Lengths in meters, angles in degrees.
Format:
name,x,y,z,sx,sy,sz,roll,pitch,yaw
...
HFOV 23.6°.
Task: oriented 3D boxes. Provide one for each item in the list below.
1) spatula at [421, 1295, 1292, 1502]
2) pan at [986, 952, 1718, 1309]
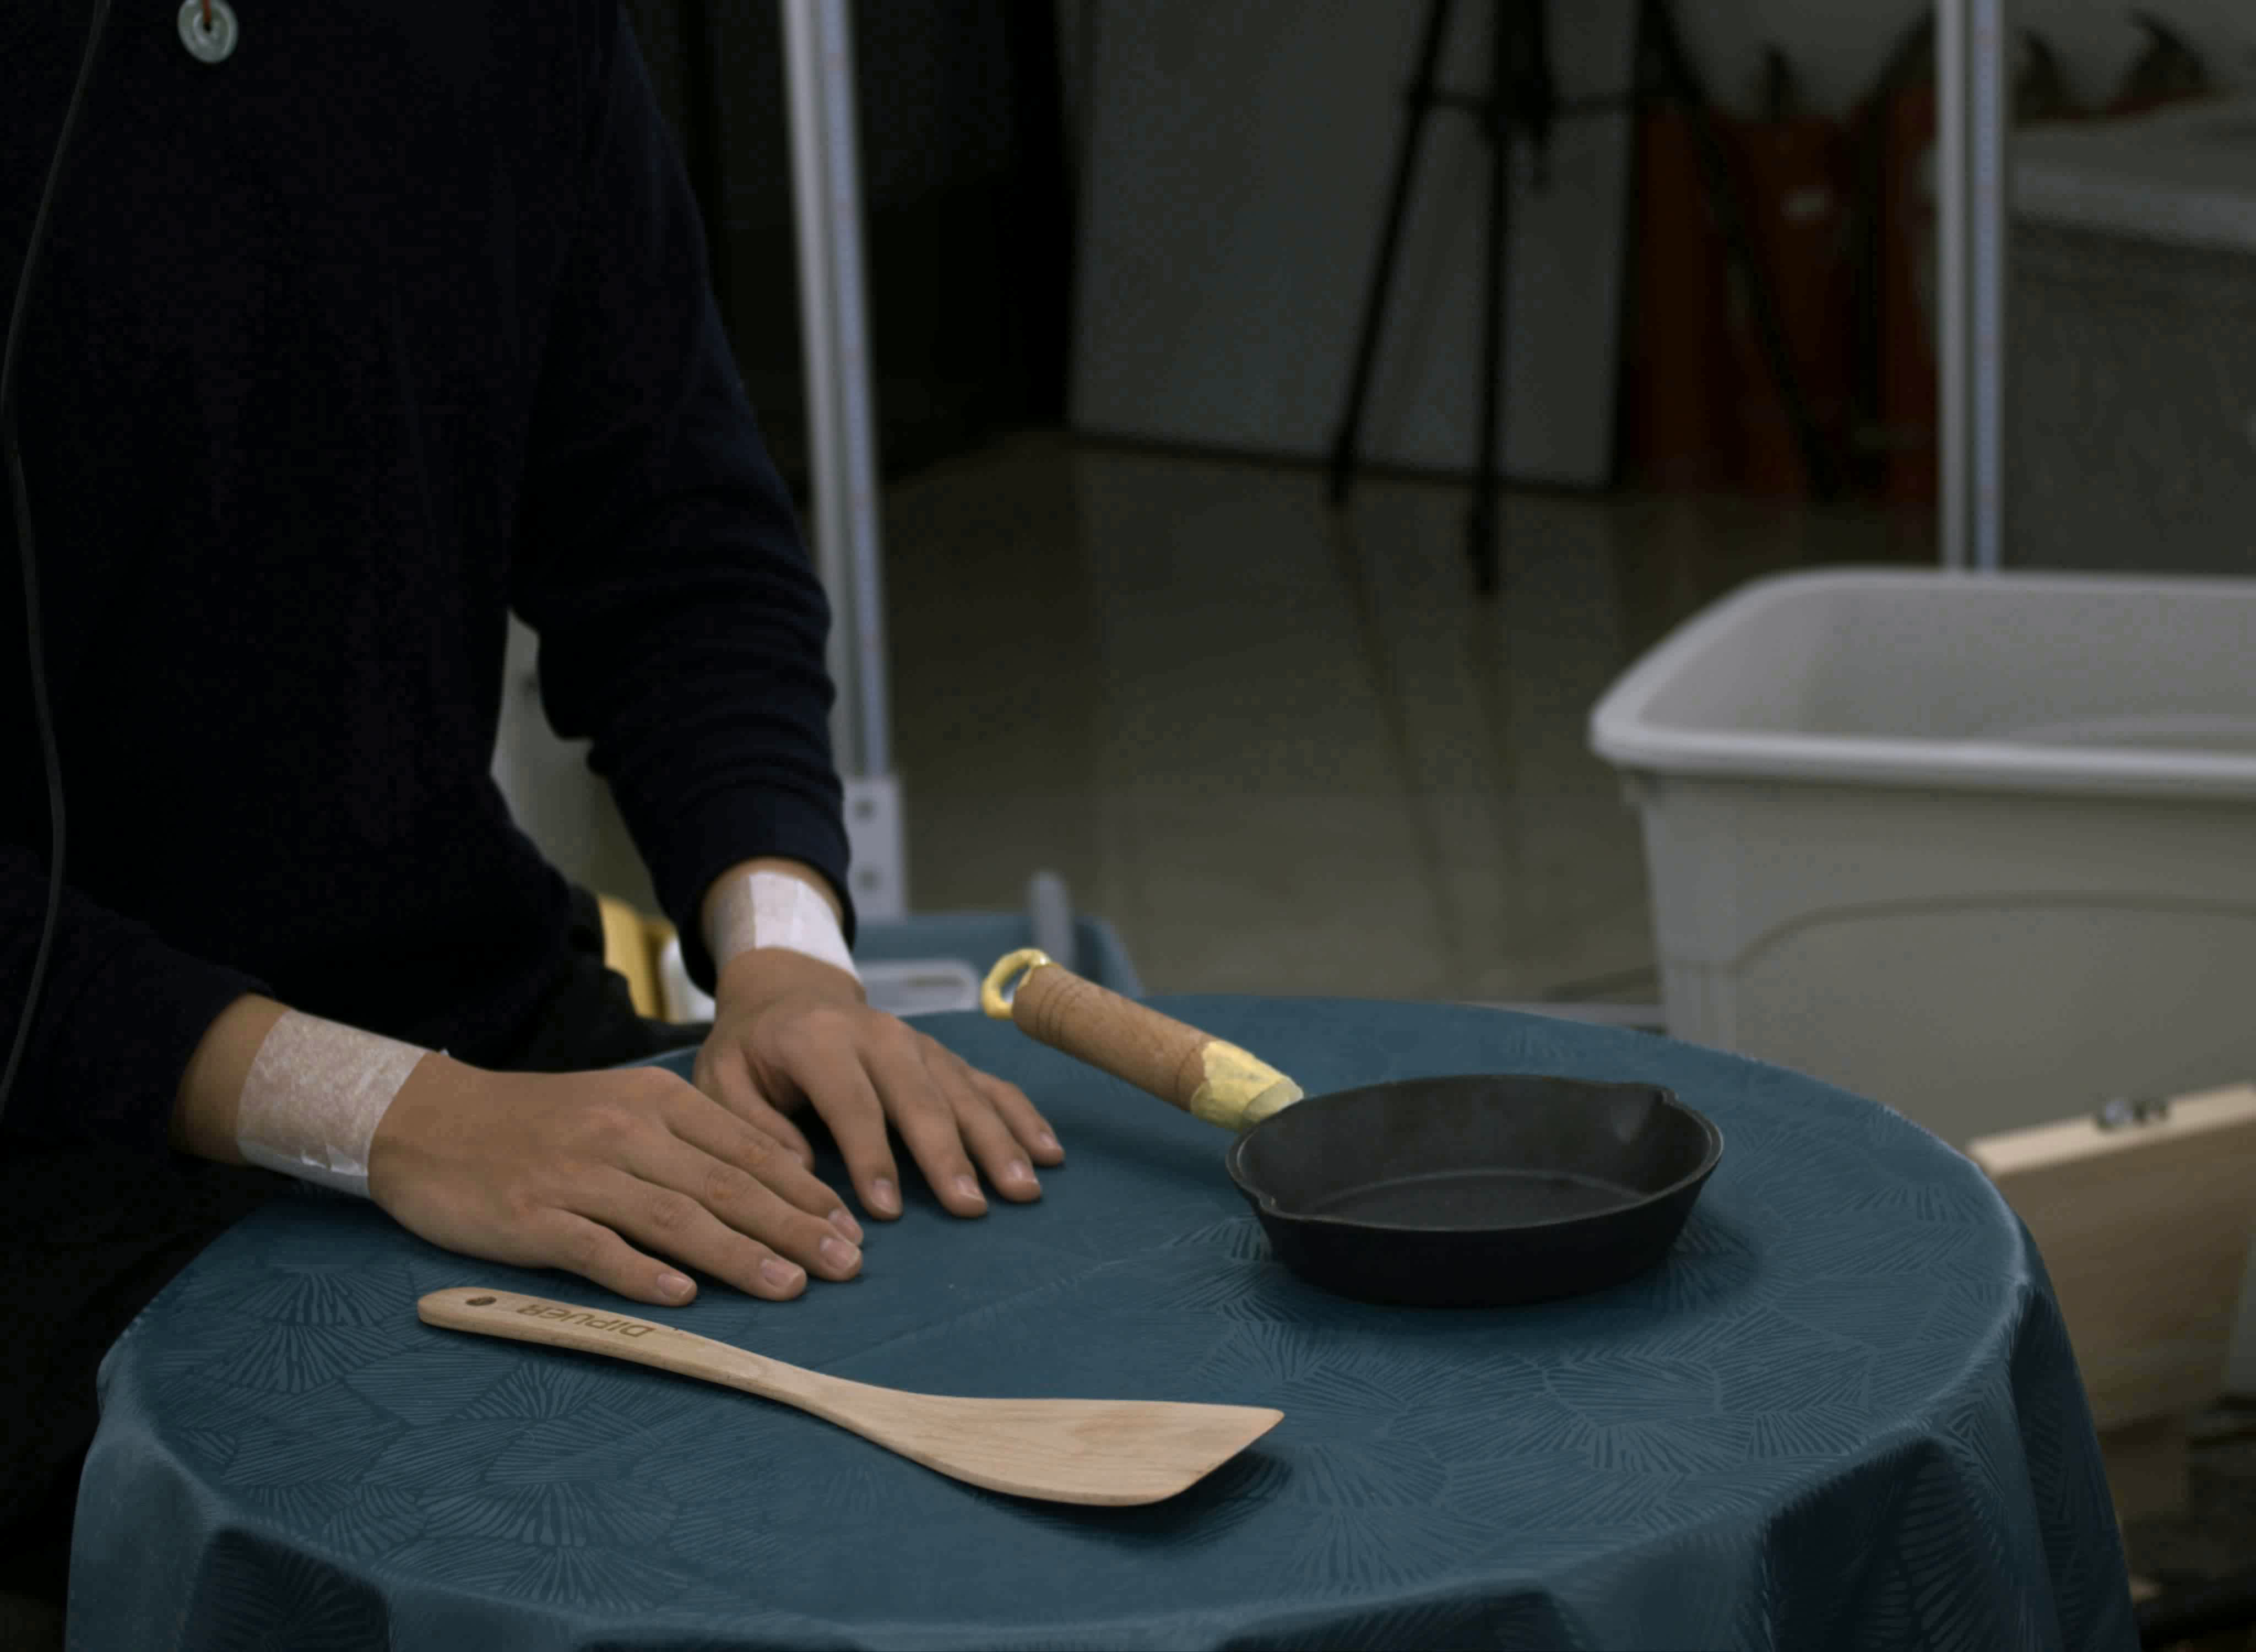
name,x,y,z,sx,sy,sz,roll,pitch,yaw
spatula,-0.090,0.163,1.592,0.330,0.017,0.078,7,17,39
pan,0.057,0.094,1.756,0.165,0.050,0.327,-14,18,-35
